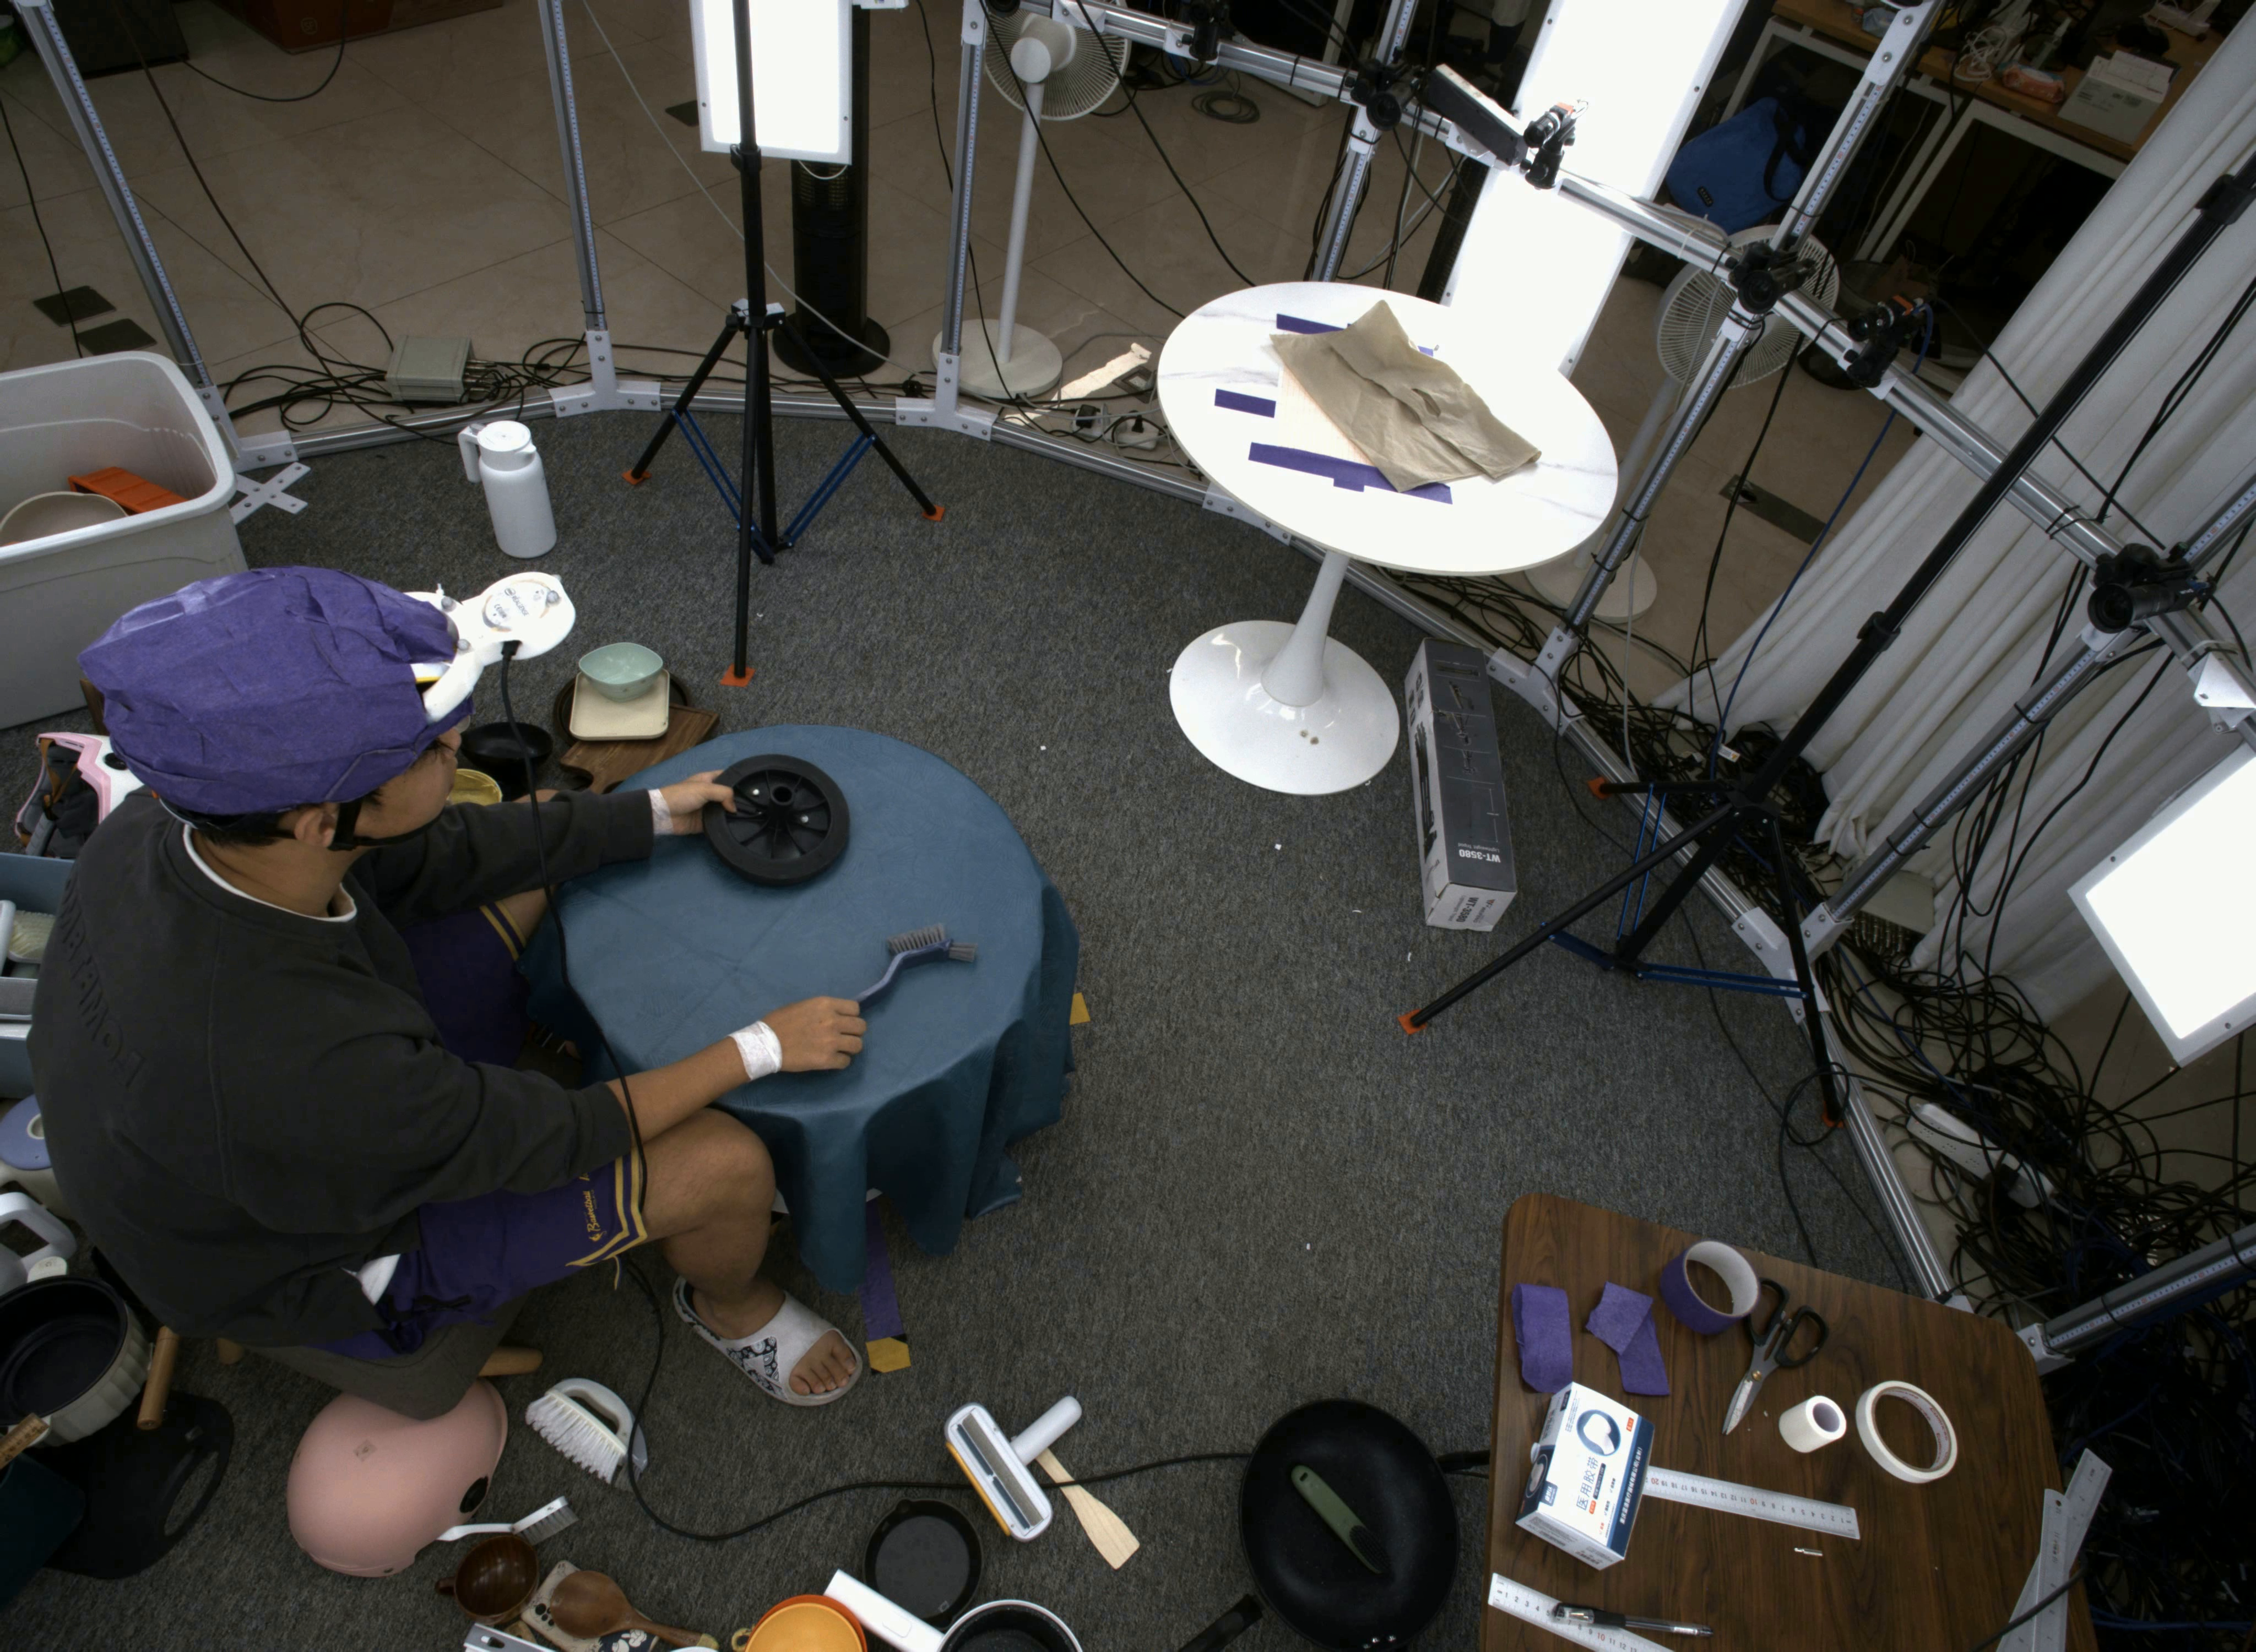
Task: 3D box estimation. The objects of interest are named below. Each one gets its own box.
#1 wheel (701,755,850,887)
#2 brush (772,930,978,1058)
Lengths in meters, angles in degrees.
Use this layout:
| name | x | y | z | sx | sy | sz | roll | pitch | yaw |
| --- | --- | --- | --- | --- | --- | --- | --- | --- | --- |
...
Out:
| name | x | y | z | sx | sy | sz | roll | pitch | yaw |
| --- | --- | --- | --- | --- | --- | --- | --- | --- | --- |
| wheel | -0.453 | -0.020 | 1.674 | 0.191 | 0.079 | 0.184 | -4 | 64 | -25 |
| brush | -0.308 | 0.207 | 1.583 | 0.094 | 0.034 | 0.273 | 39 | 53 | 15 |
